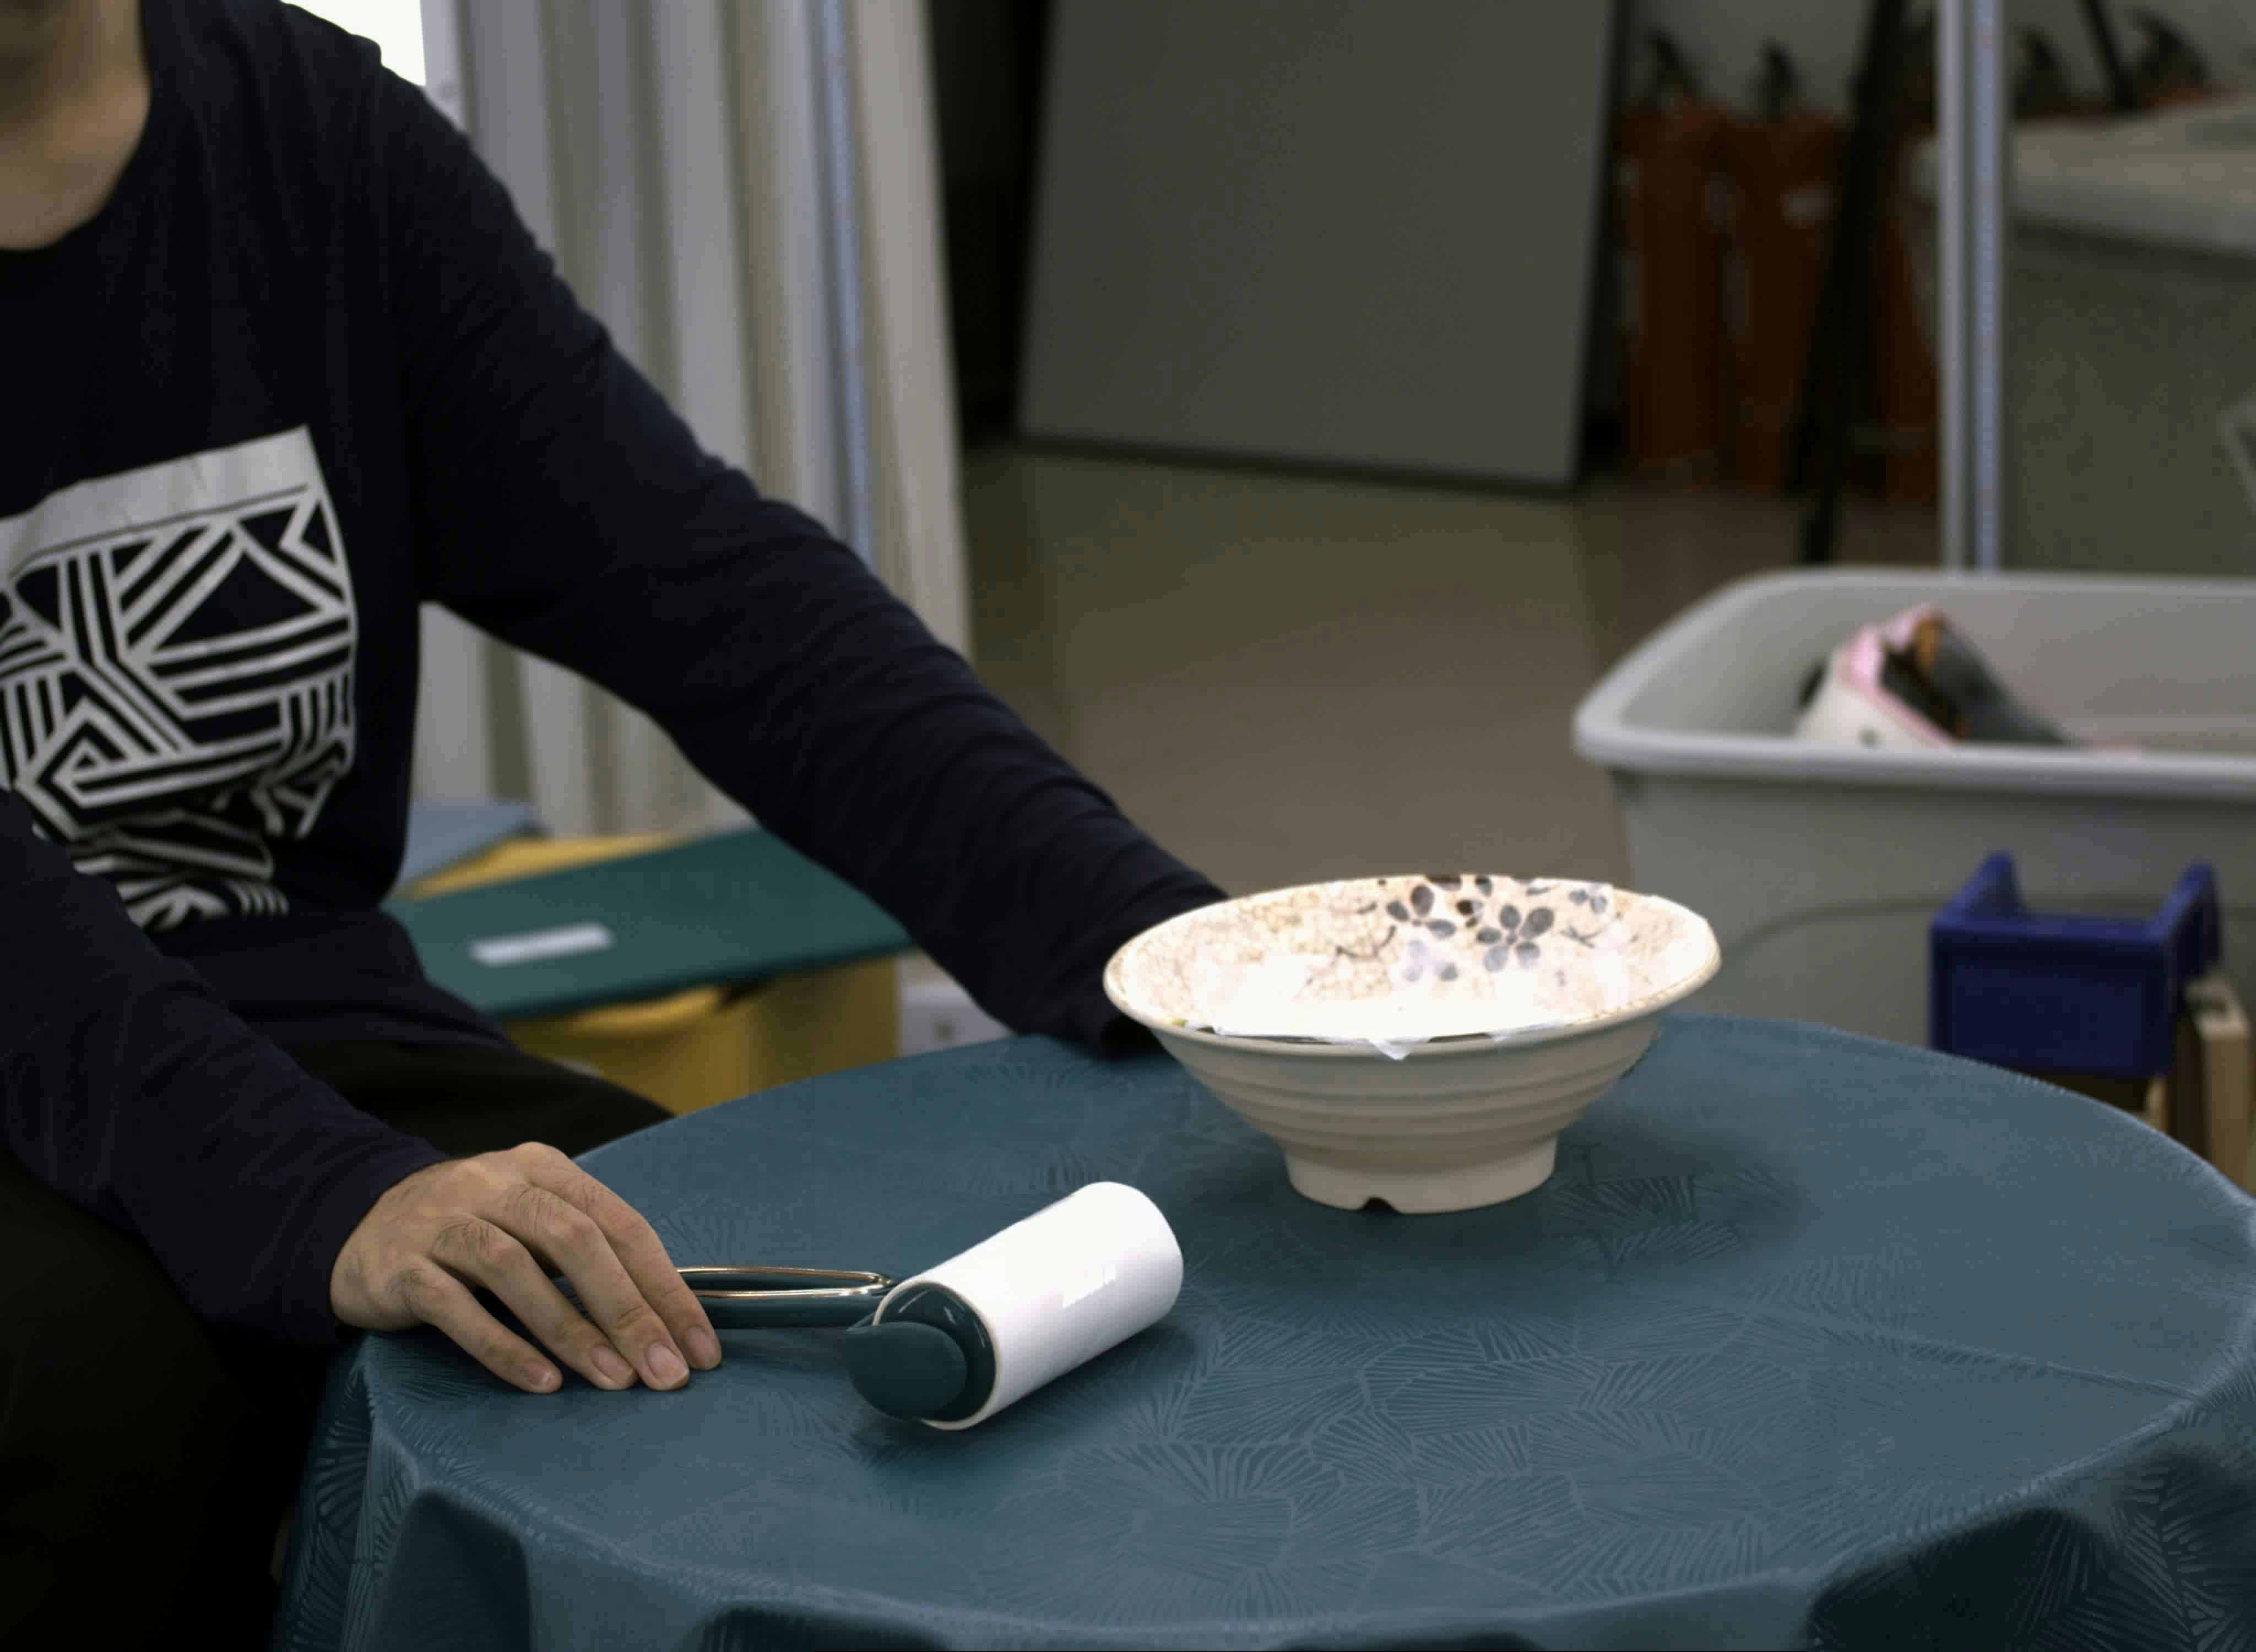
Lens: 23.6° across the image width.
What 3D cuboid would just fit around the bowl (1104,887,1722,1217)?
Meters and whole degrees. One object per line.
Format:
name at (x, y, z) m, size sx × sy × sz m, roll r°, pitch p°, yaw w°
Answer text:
bowl at (0.095, 0.079, 1.759) m, size 0.201 × 0.079 × 0.204 m, roll -4°, pitch 11°, yaw 0°

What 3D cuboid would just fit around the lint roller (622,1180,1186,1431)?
lint roller at (-0.084, 0.142, 1.636) m, size 0.181 × 0.049 × 0.132 m, roll -1°, pitch 13°, yaw 35°
